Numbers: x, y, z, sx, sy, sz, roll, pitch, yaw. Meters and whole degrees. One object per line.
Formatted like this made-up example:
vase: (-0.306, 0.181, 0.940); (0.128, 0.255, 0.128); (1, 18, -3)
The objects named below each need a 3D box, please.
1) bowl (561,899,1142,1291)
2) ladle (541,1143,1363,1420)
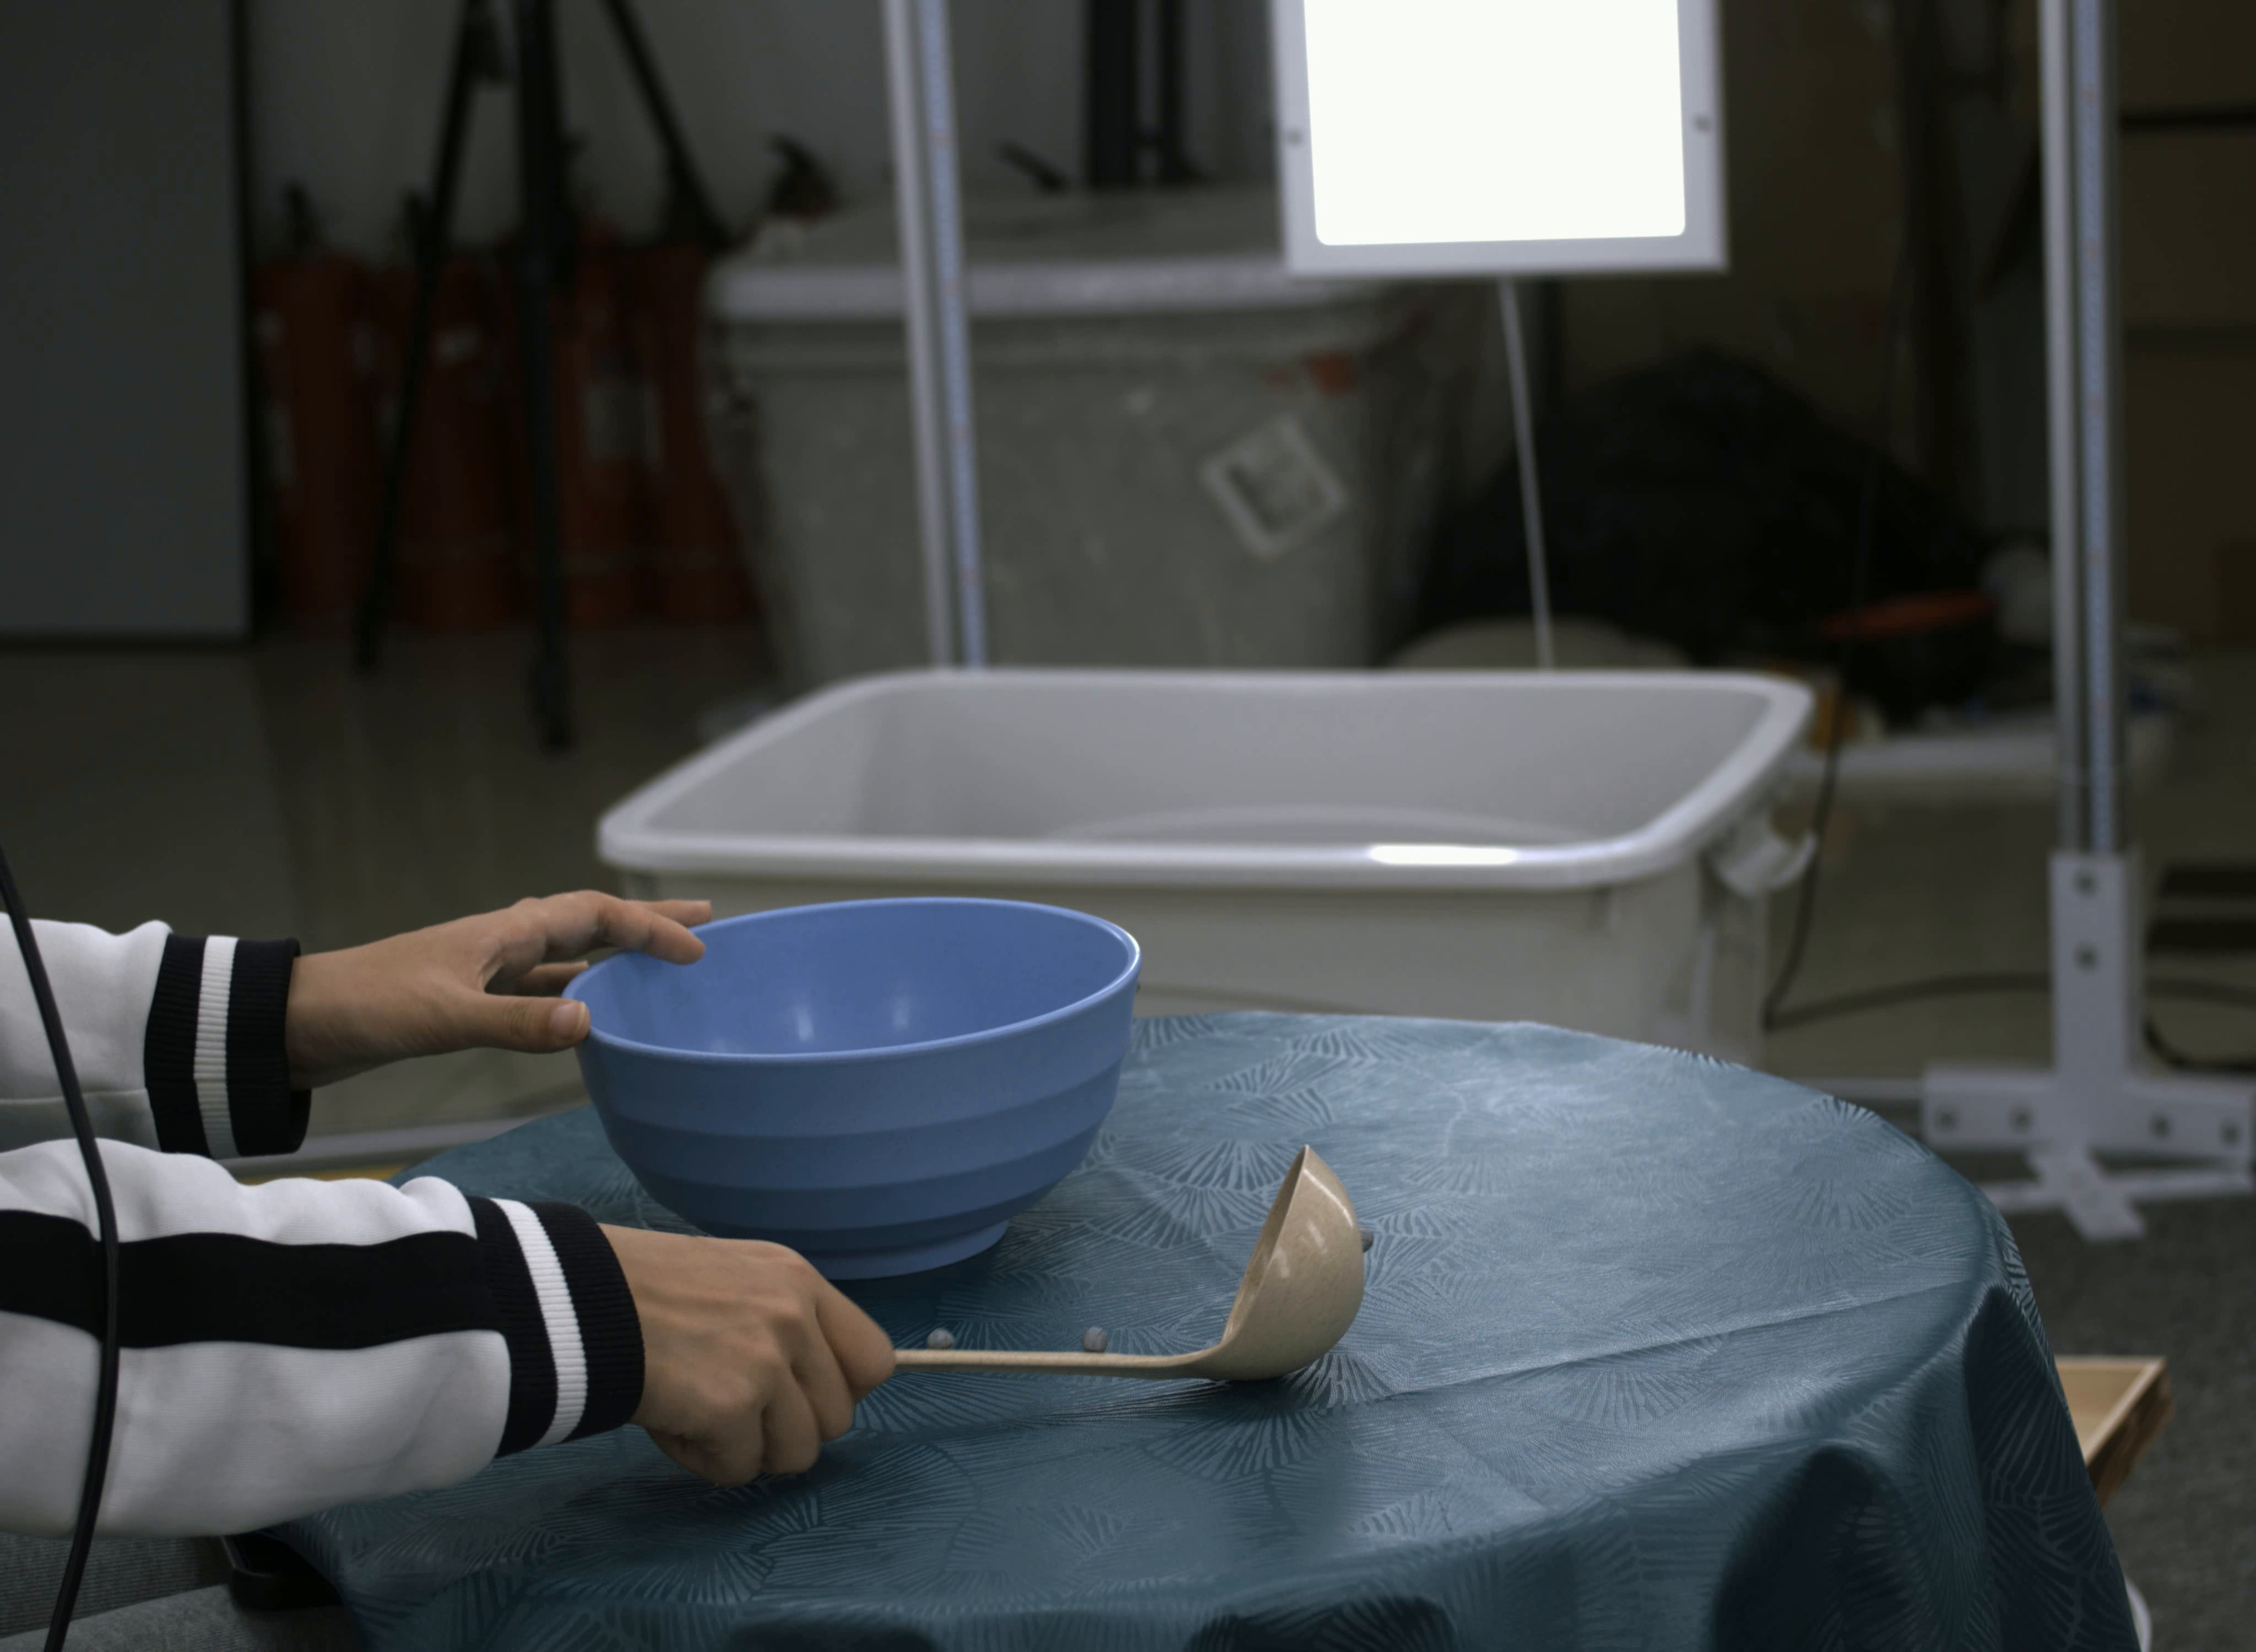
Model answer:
bowl: (-0.090, 0.097, 1.864); (0.196, 0.096, 0.196); (-5, 15, 0)
ladle: (-0.055, 0.138, 1.683); (0.252, 0.073, 0.073); (-2, -16, -9)
